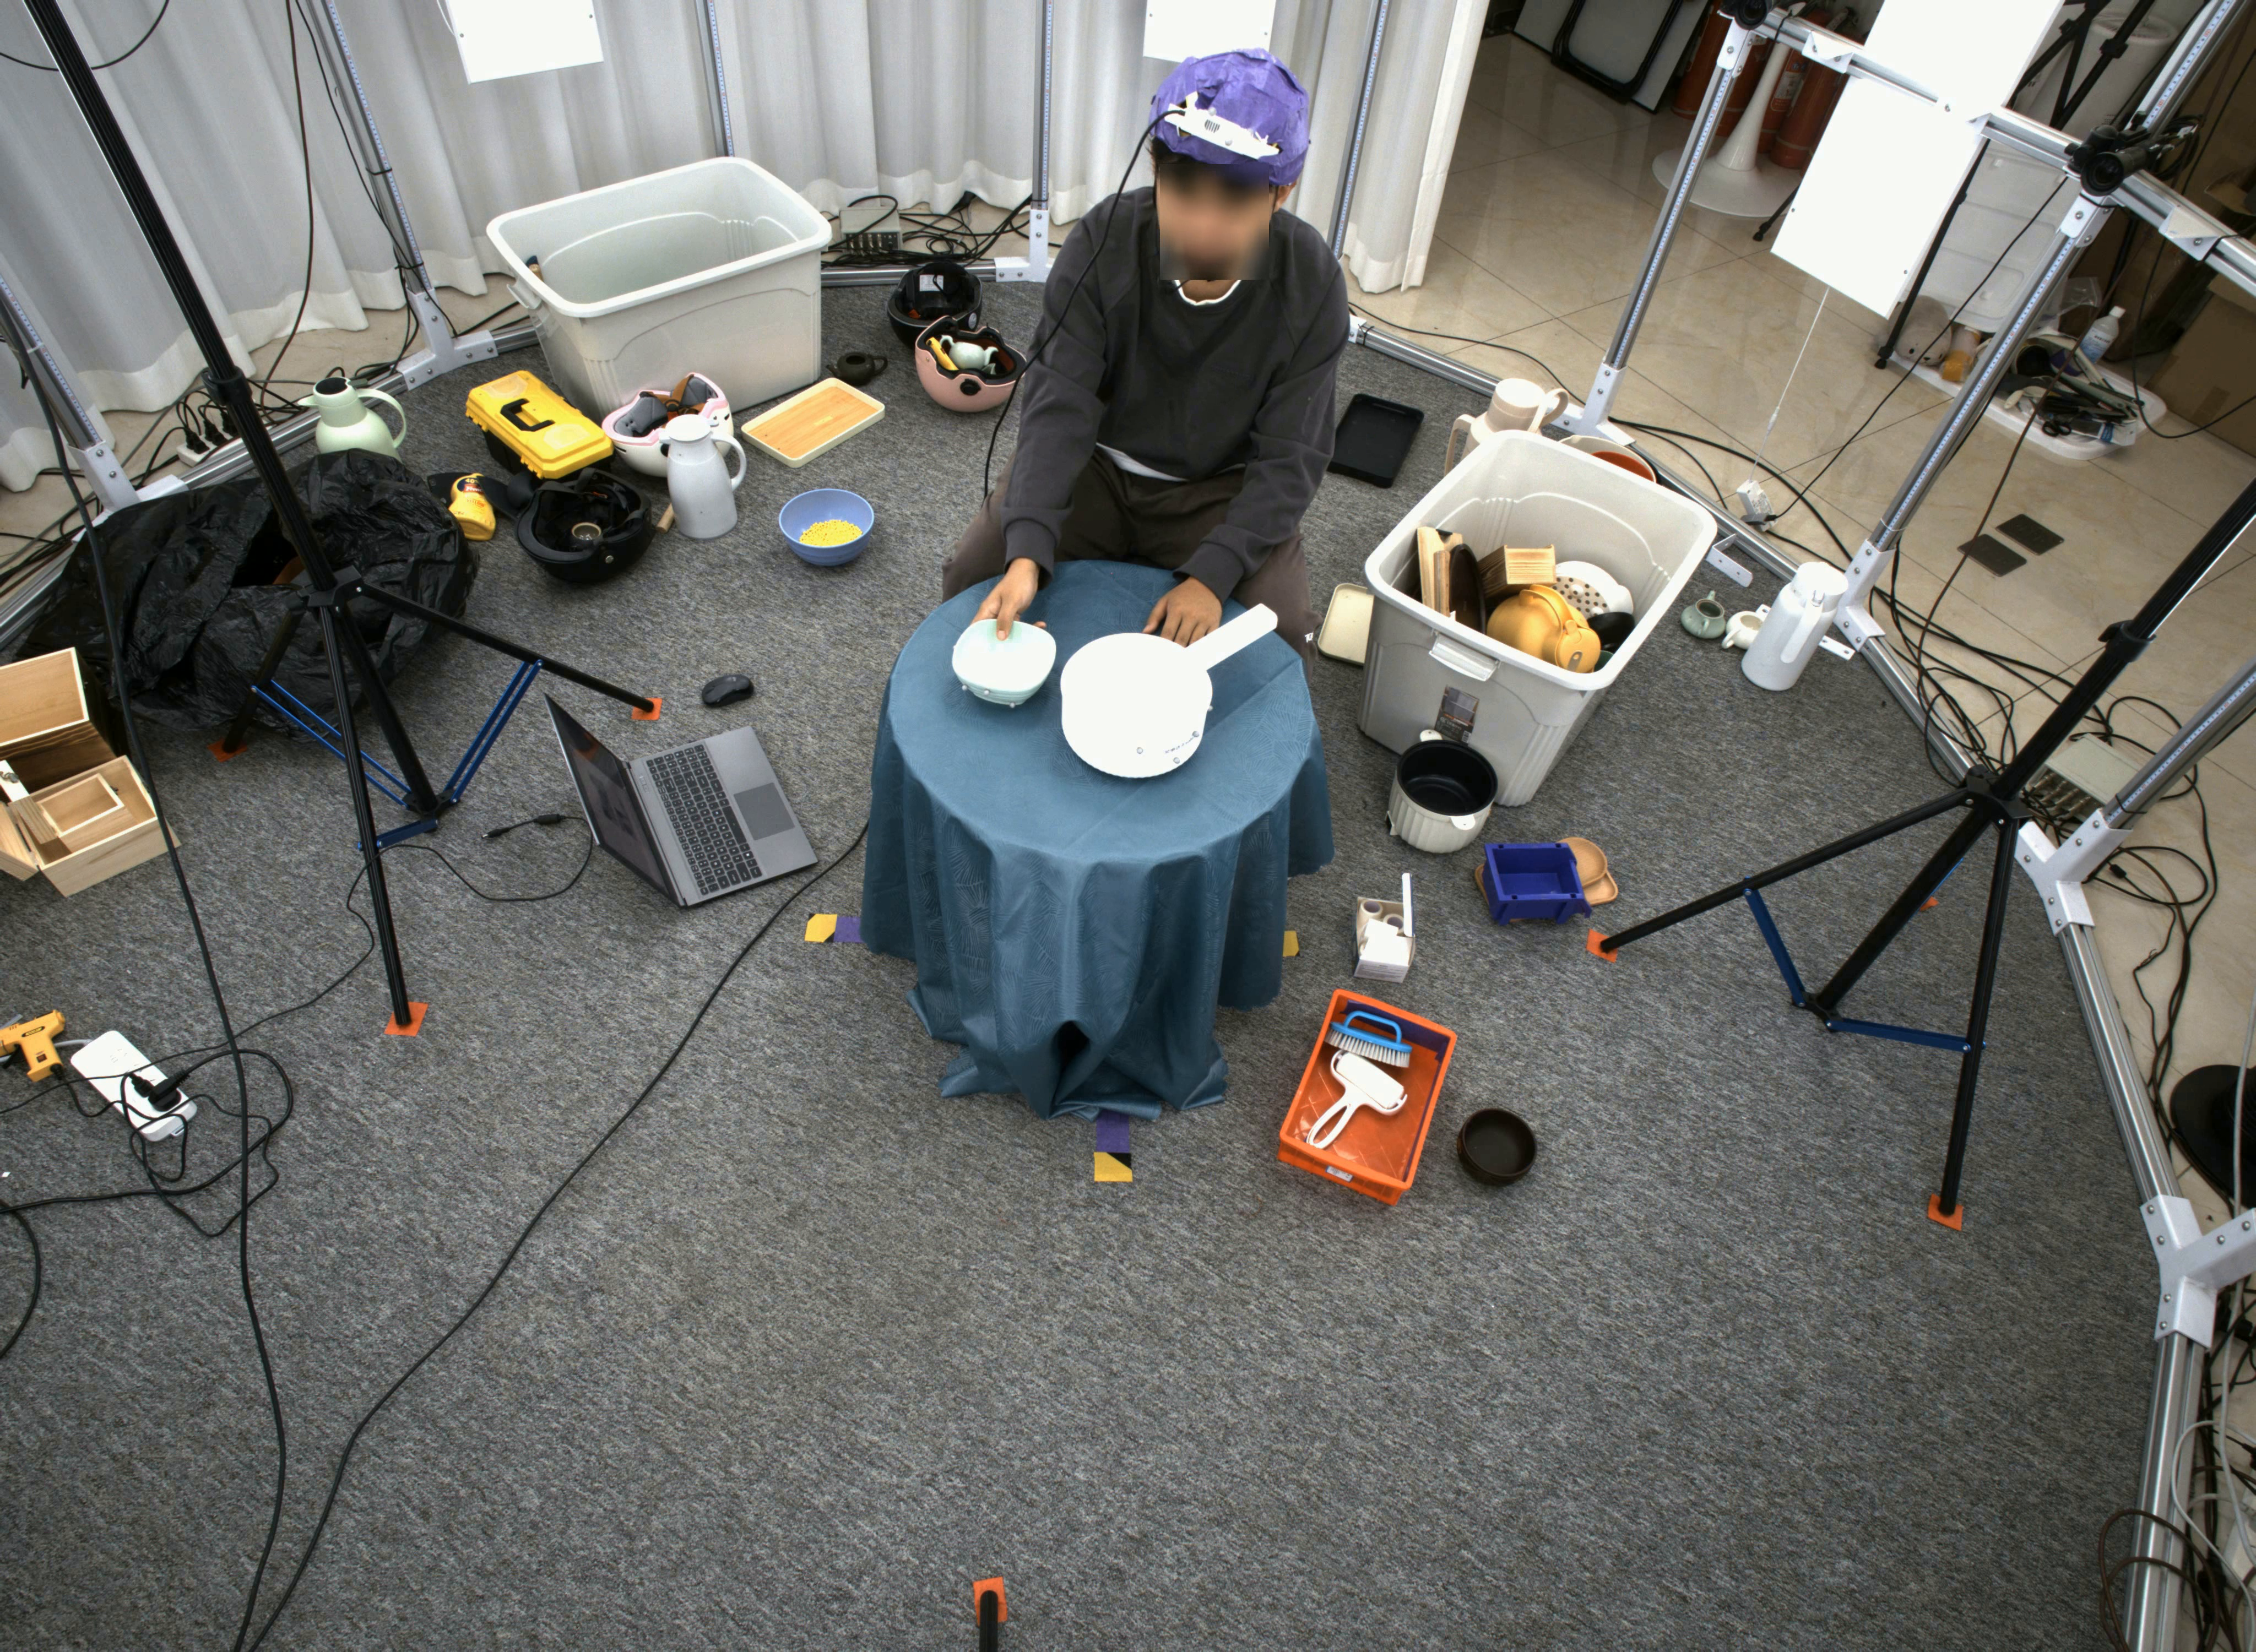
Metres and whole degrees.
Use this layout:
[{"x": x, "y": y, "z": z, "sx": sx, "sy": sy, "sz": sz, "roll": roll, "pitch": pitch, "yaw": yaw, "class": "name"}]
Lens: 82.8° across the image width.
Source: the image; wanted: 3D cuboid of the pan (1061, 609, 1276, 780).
[{"x": 0.065, "y": -0.191, "z": 1.780, "sx": 0.357, "sy": 0.099, "sz": 0.204, "roll": -32, "pitch": 55, "yaw": -30, "class": "pan"}]

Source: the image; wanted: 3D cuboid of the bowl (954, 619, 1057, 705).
[{"x": -0.171, "y": -0.223, "z": 1.809, "sx": 0.151, "sy": 0.057, "sz": 0.155, "roll": 2, "pitch": 50, "yaw": -2, "class": "bowl"}]
